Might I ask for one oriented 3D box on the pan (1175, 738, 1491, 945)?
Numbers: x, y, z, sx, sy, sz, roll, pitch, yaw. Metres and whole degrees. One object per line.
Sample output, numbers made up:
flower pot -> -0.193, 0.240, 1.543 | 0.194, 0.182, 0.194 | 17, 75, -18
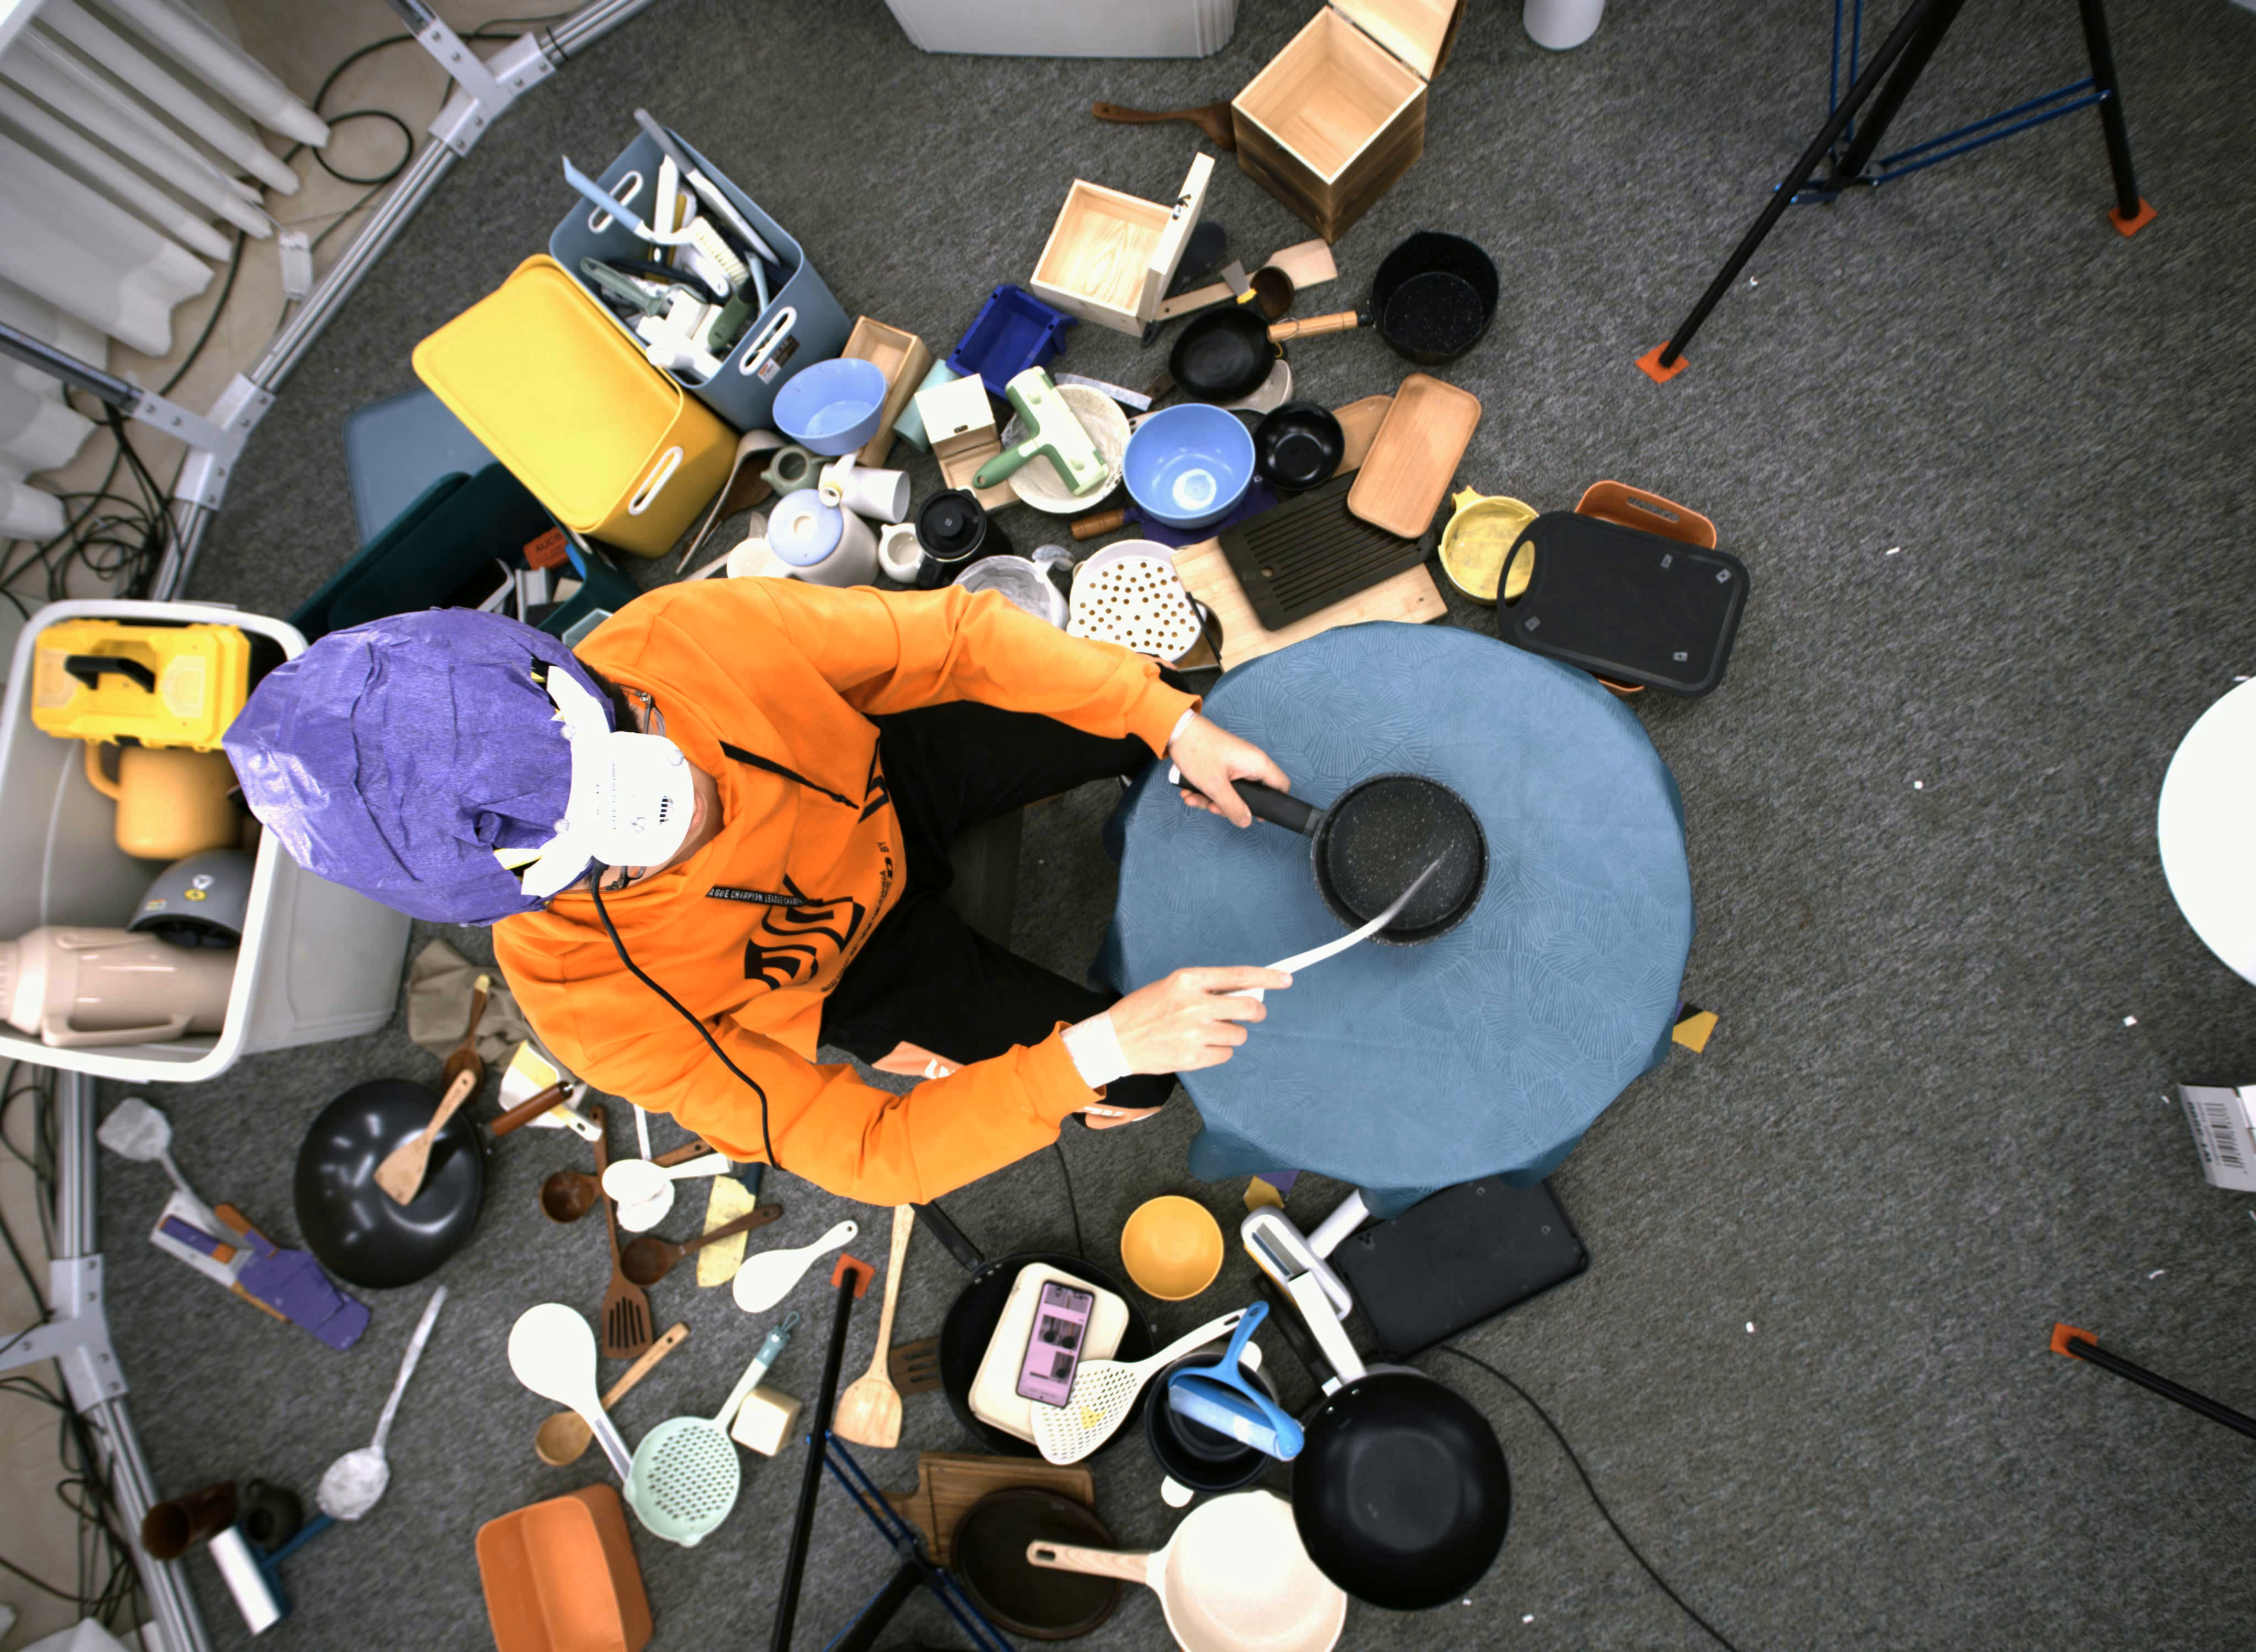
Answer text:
pan -> 0.202, -0.005, 1.387 | 0.328, 0.086, 0.173 | 25, 100, 9

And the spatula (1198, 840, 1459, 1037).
spatula -> 0.188, 0.099, 1.245 | 0.285, 0.060, 0.032 | -31, 70, -12
